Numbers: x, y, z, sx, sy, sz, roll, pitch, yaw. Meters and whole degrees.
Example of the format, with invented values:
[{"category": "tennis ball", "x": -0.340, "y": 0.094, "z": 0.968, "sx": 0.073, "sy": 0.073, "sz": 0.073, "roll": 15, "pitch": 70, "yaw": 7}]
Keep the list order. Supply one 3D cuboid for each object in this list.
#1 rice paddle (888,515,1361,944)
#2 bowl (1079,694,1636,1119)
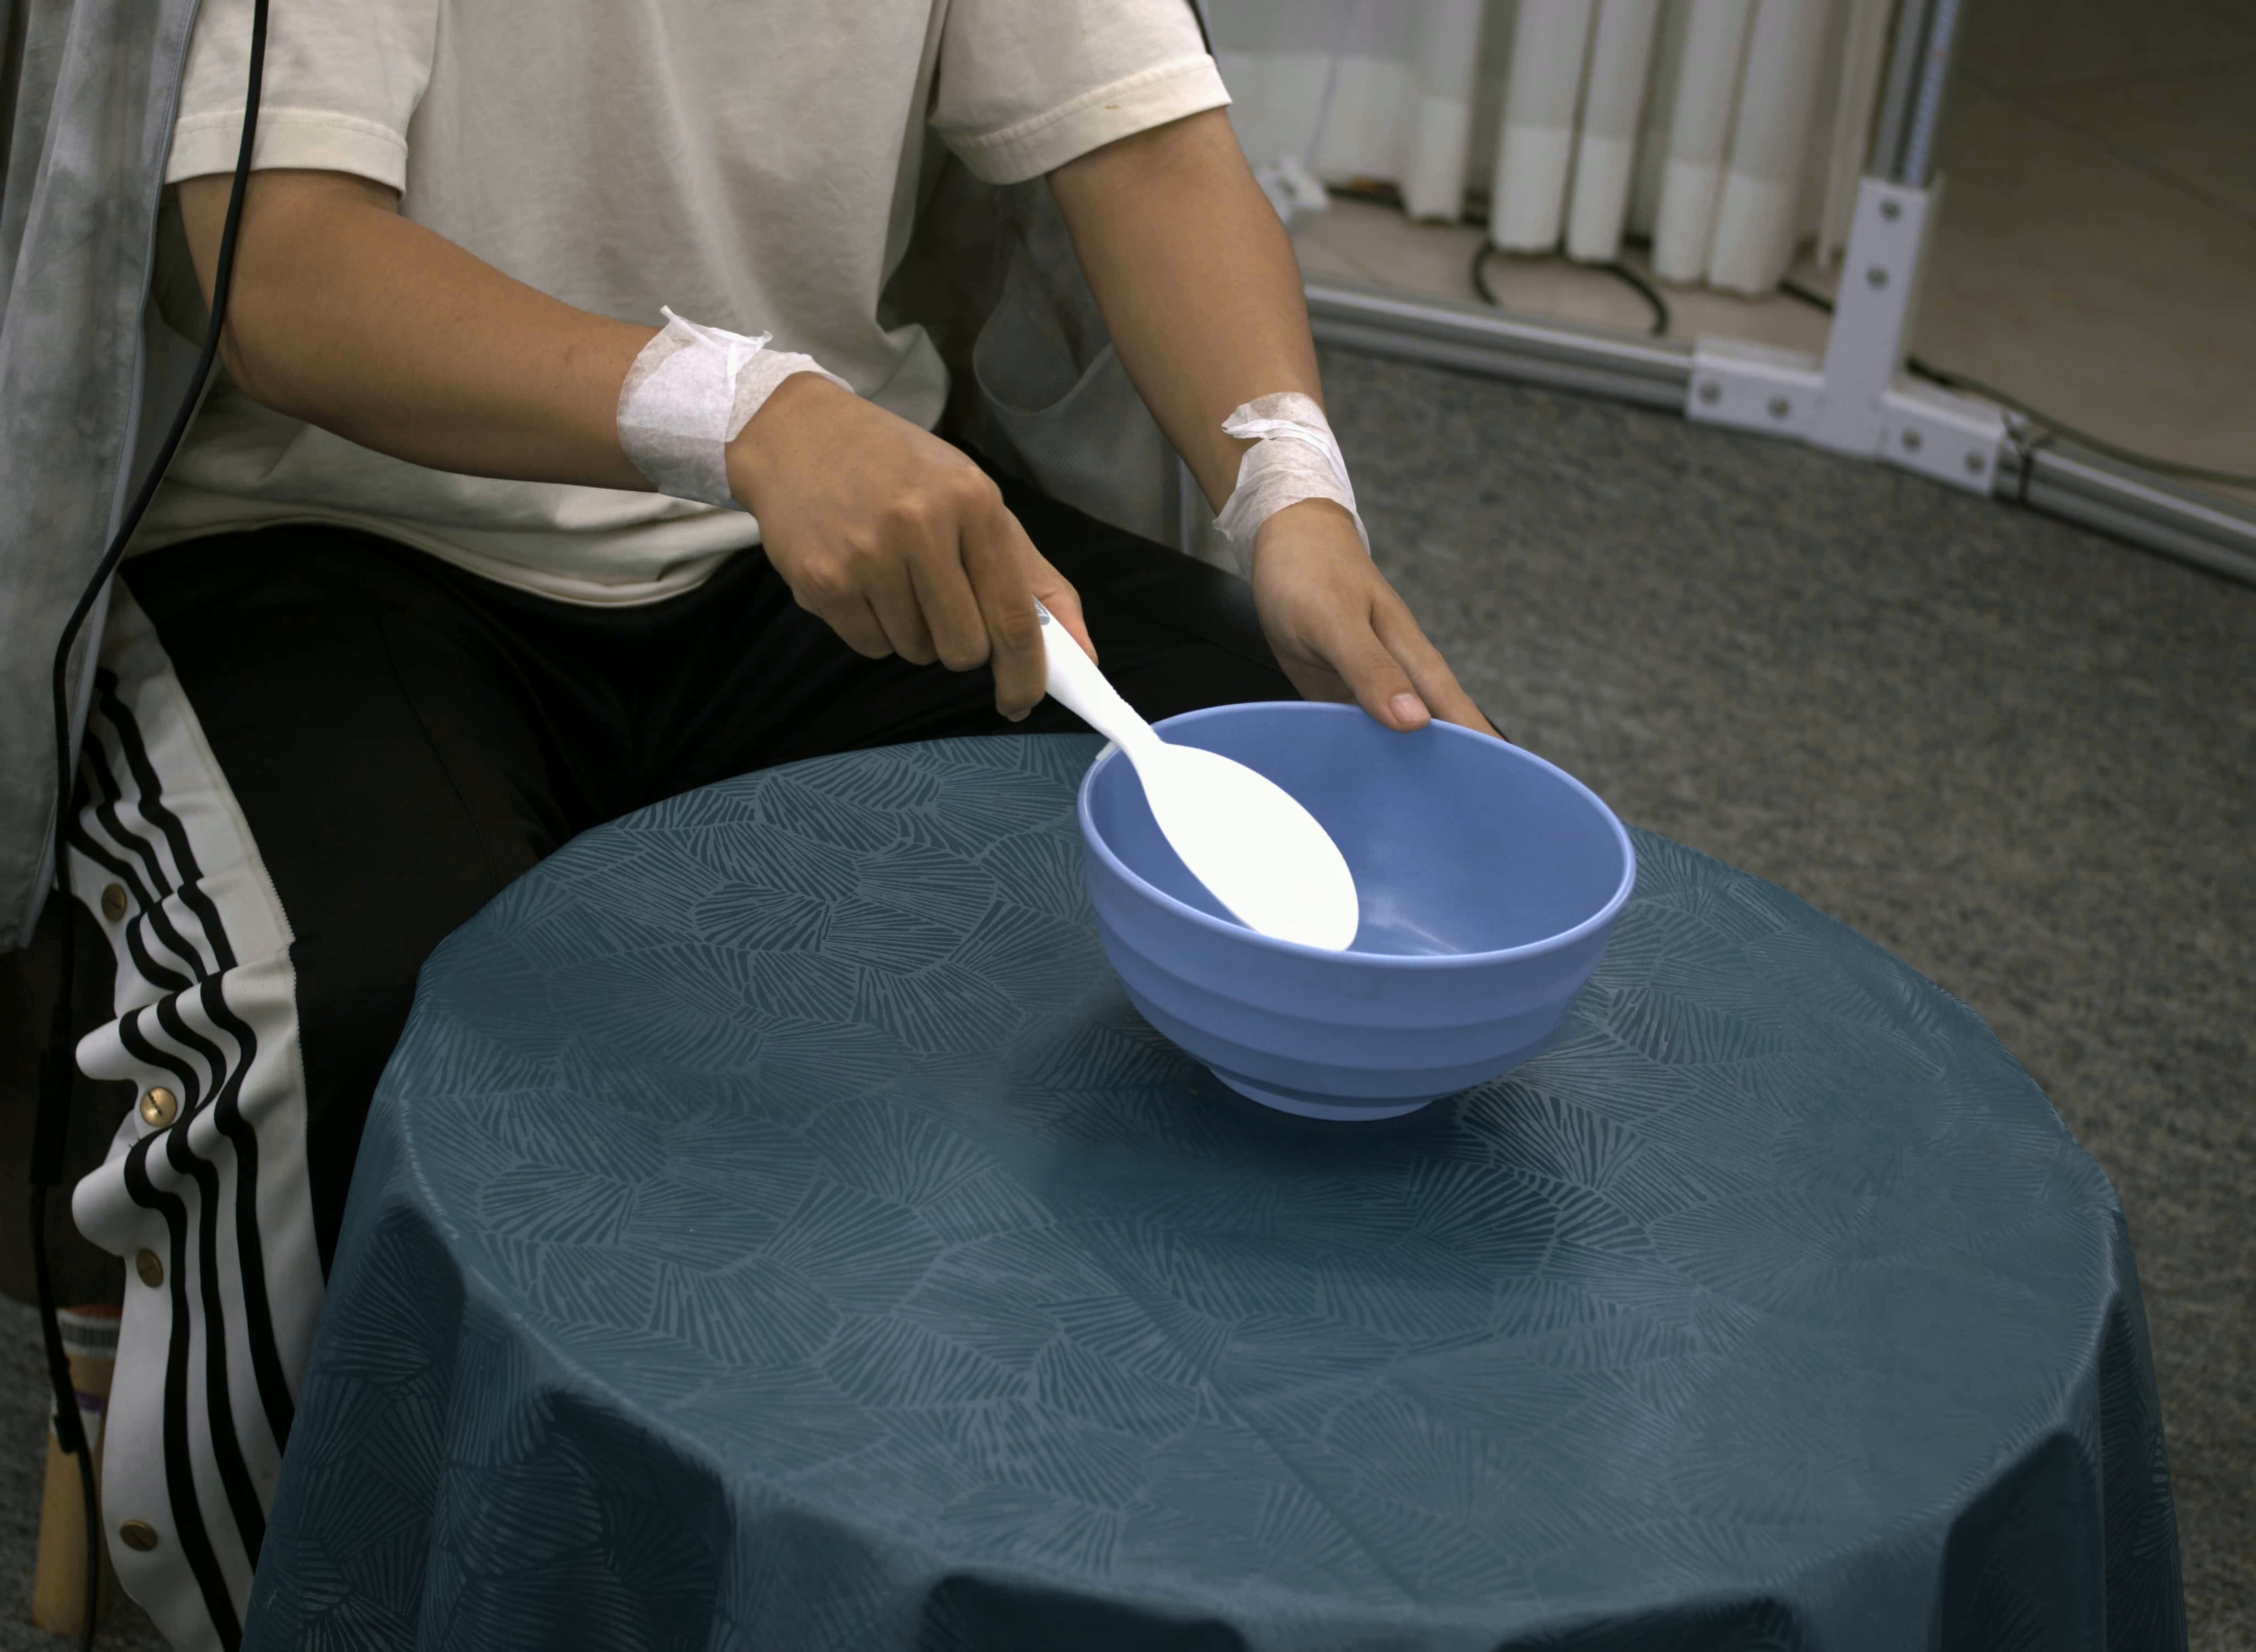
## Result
[{"category": "rice paddle", "x": 0.003, "y": -0.031, "z": 1.855, "sx": 0.205, "sy": 0.029, "sz": 0.069, "roll": 41, "pitch": 42, "yaw": -2}, {"category": "bowl", "x": 0.075, "y": 0.039, "z": 1.880, "sx": 0.196, "sy": 0.095, "sz": 0.198, "roll": 5, "pitch": 29, "yaw": -3}]
